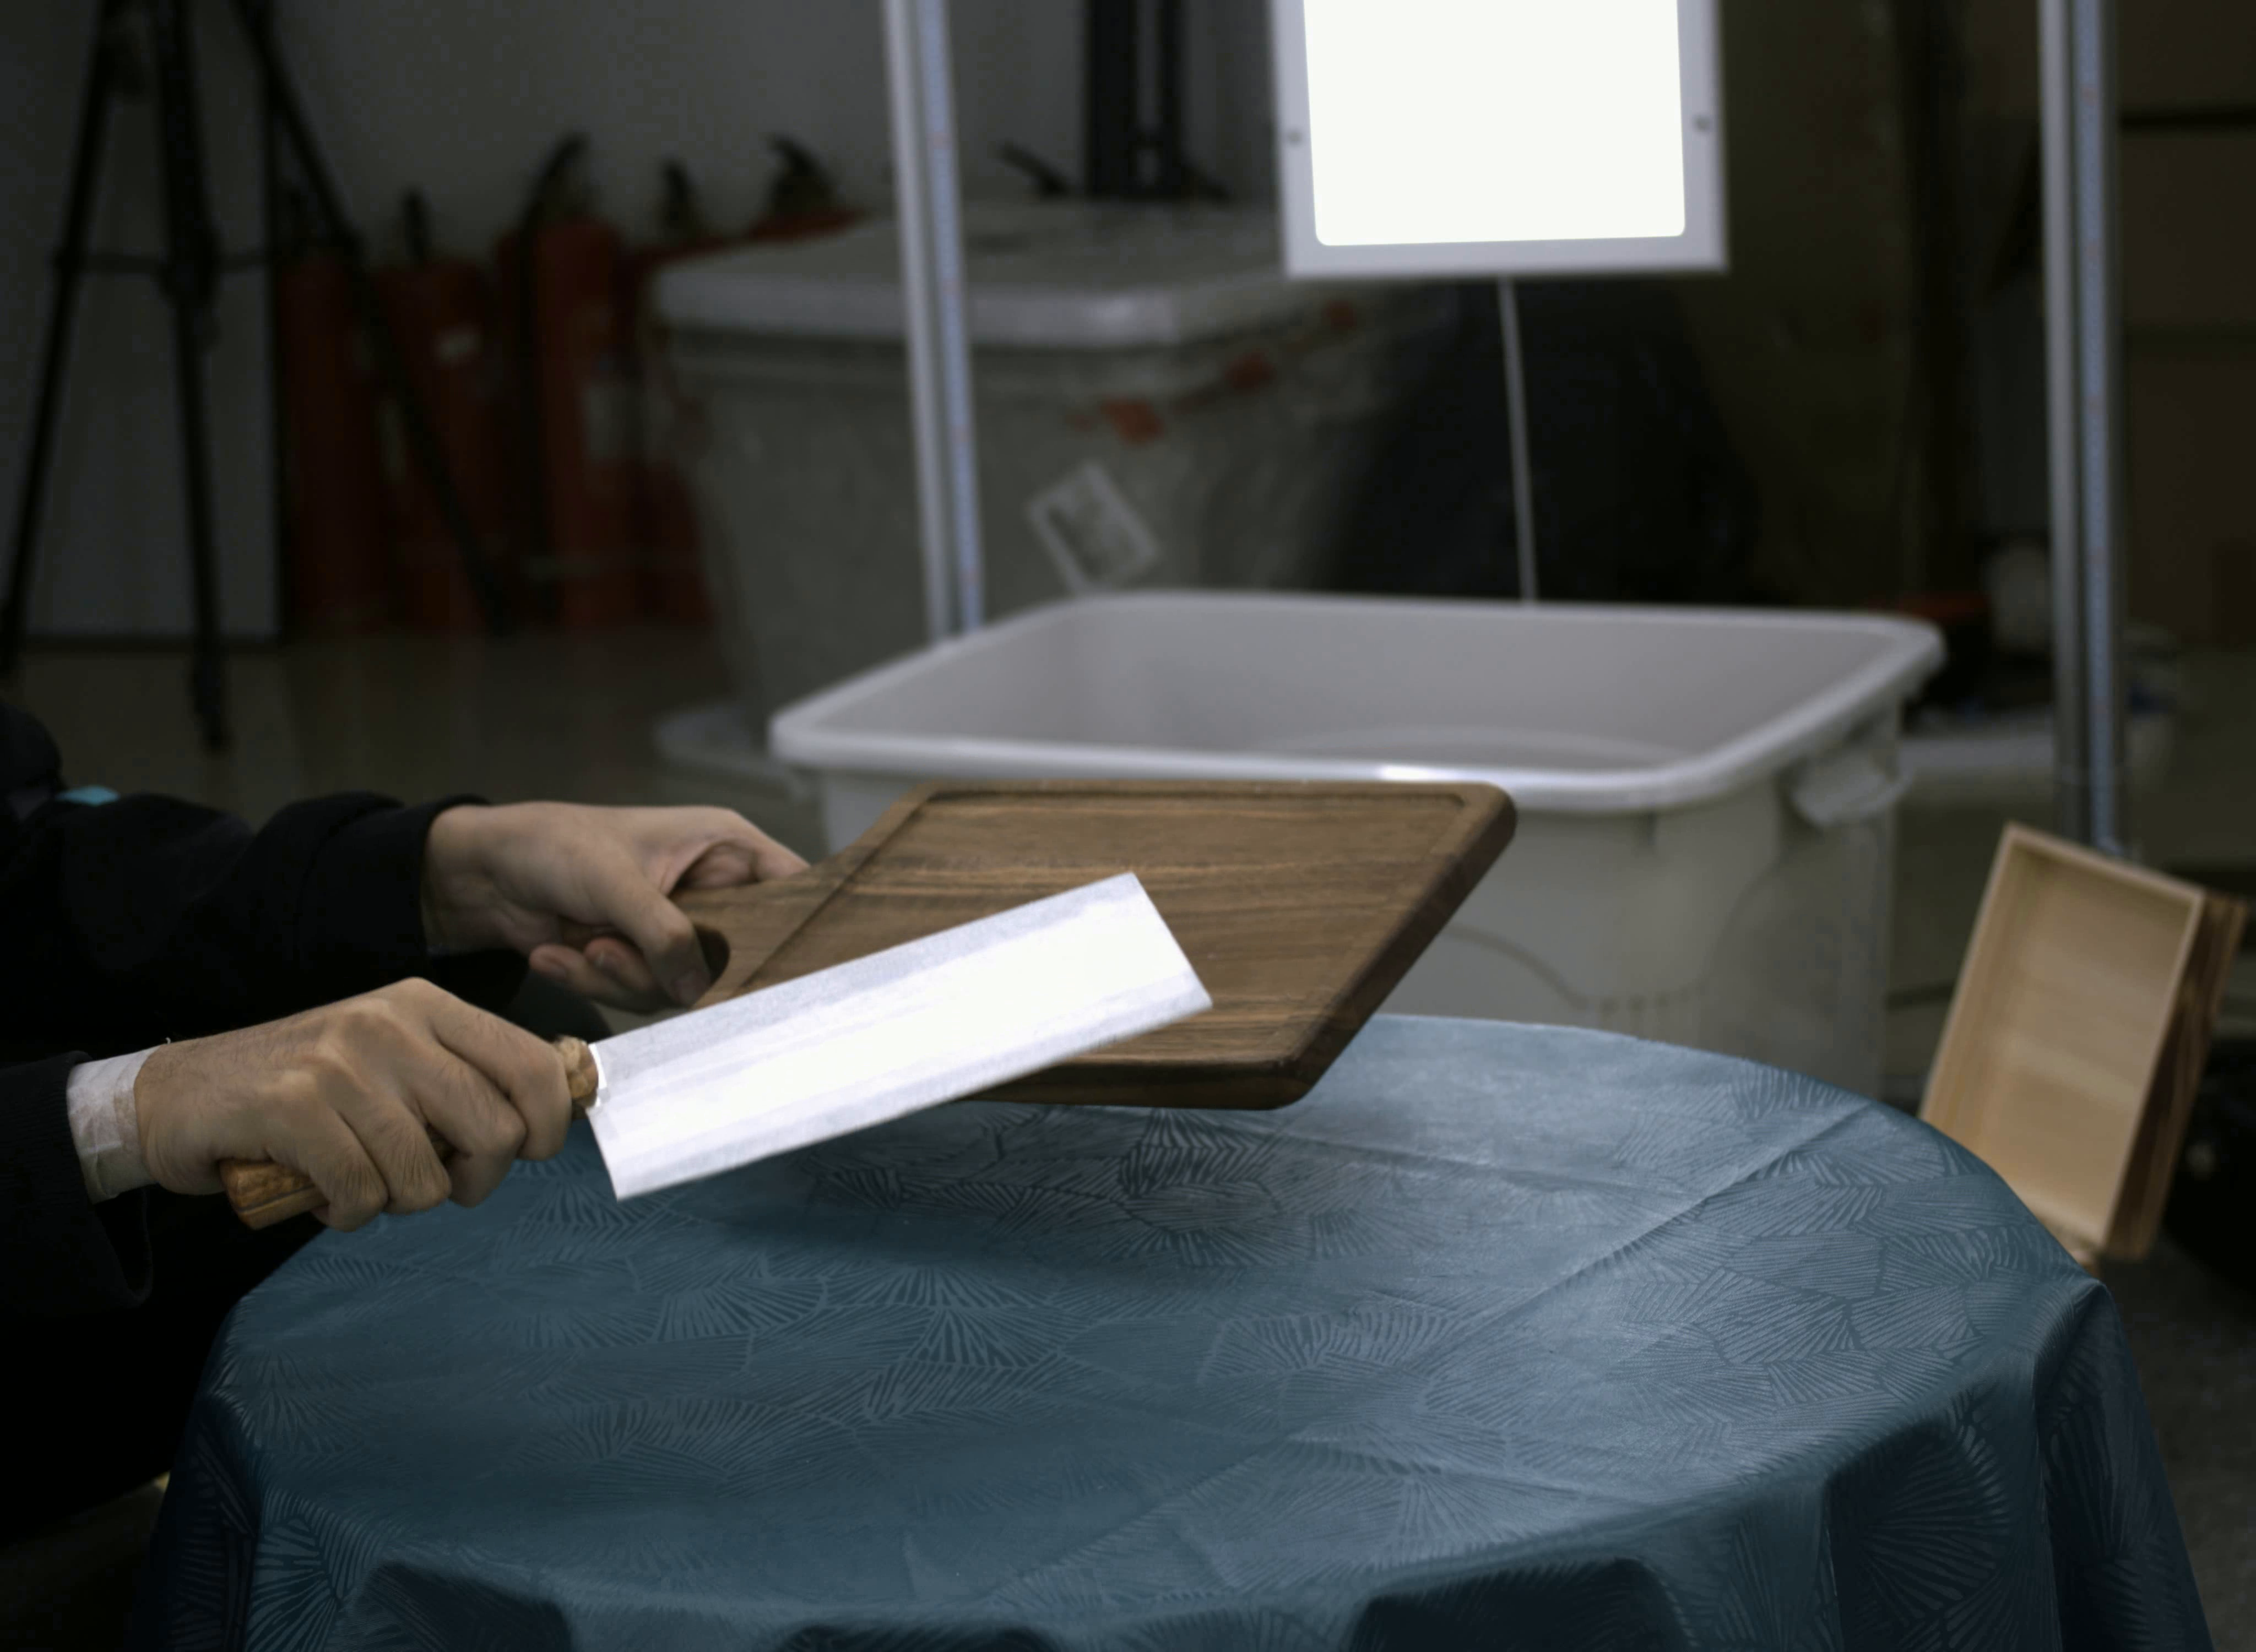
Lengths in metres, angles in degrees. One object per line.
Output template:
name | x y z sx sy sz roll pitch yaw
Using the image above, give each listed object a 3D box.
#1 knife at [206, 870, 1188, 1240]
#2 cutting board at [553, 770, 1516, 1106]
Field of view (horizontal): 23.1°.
knife | -0.130 0.078 1.683 0.303 0.021 0.093 -18 30 -6
cutting board | -0.054 0.037 1.943 0.359 0.023 0.197 -1 30 32
